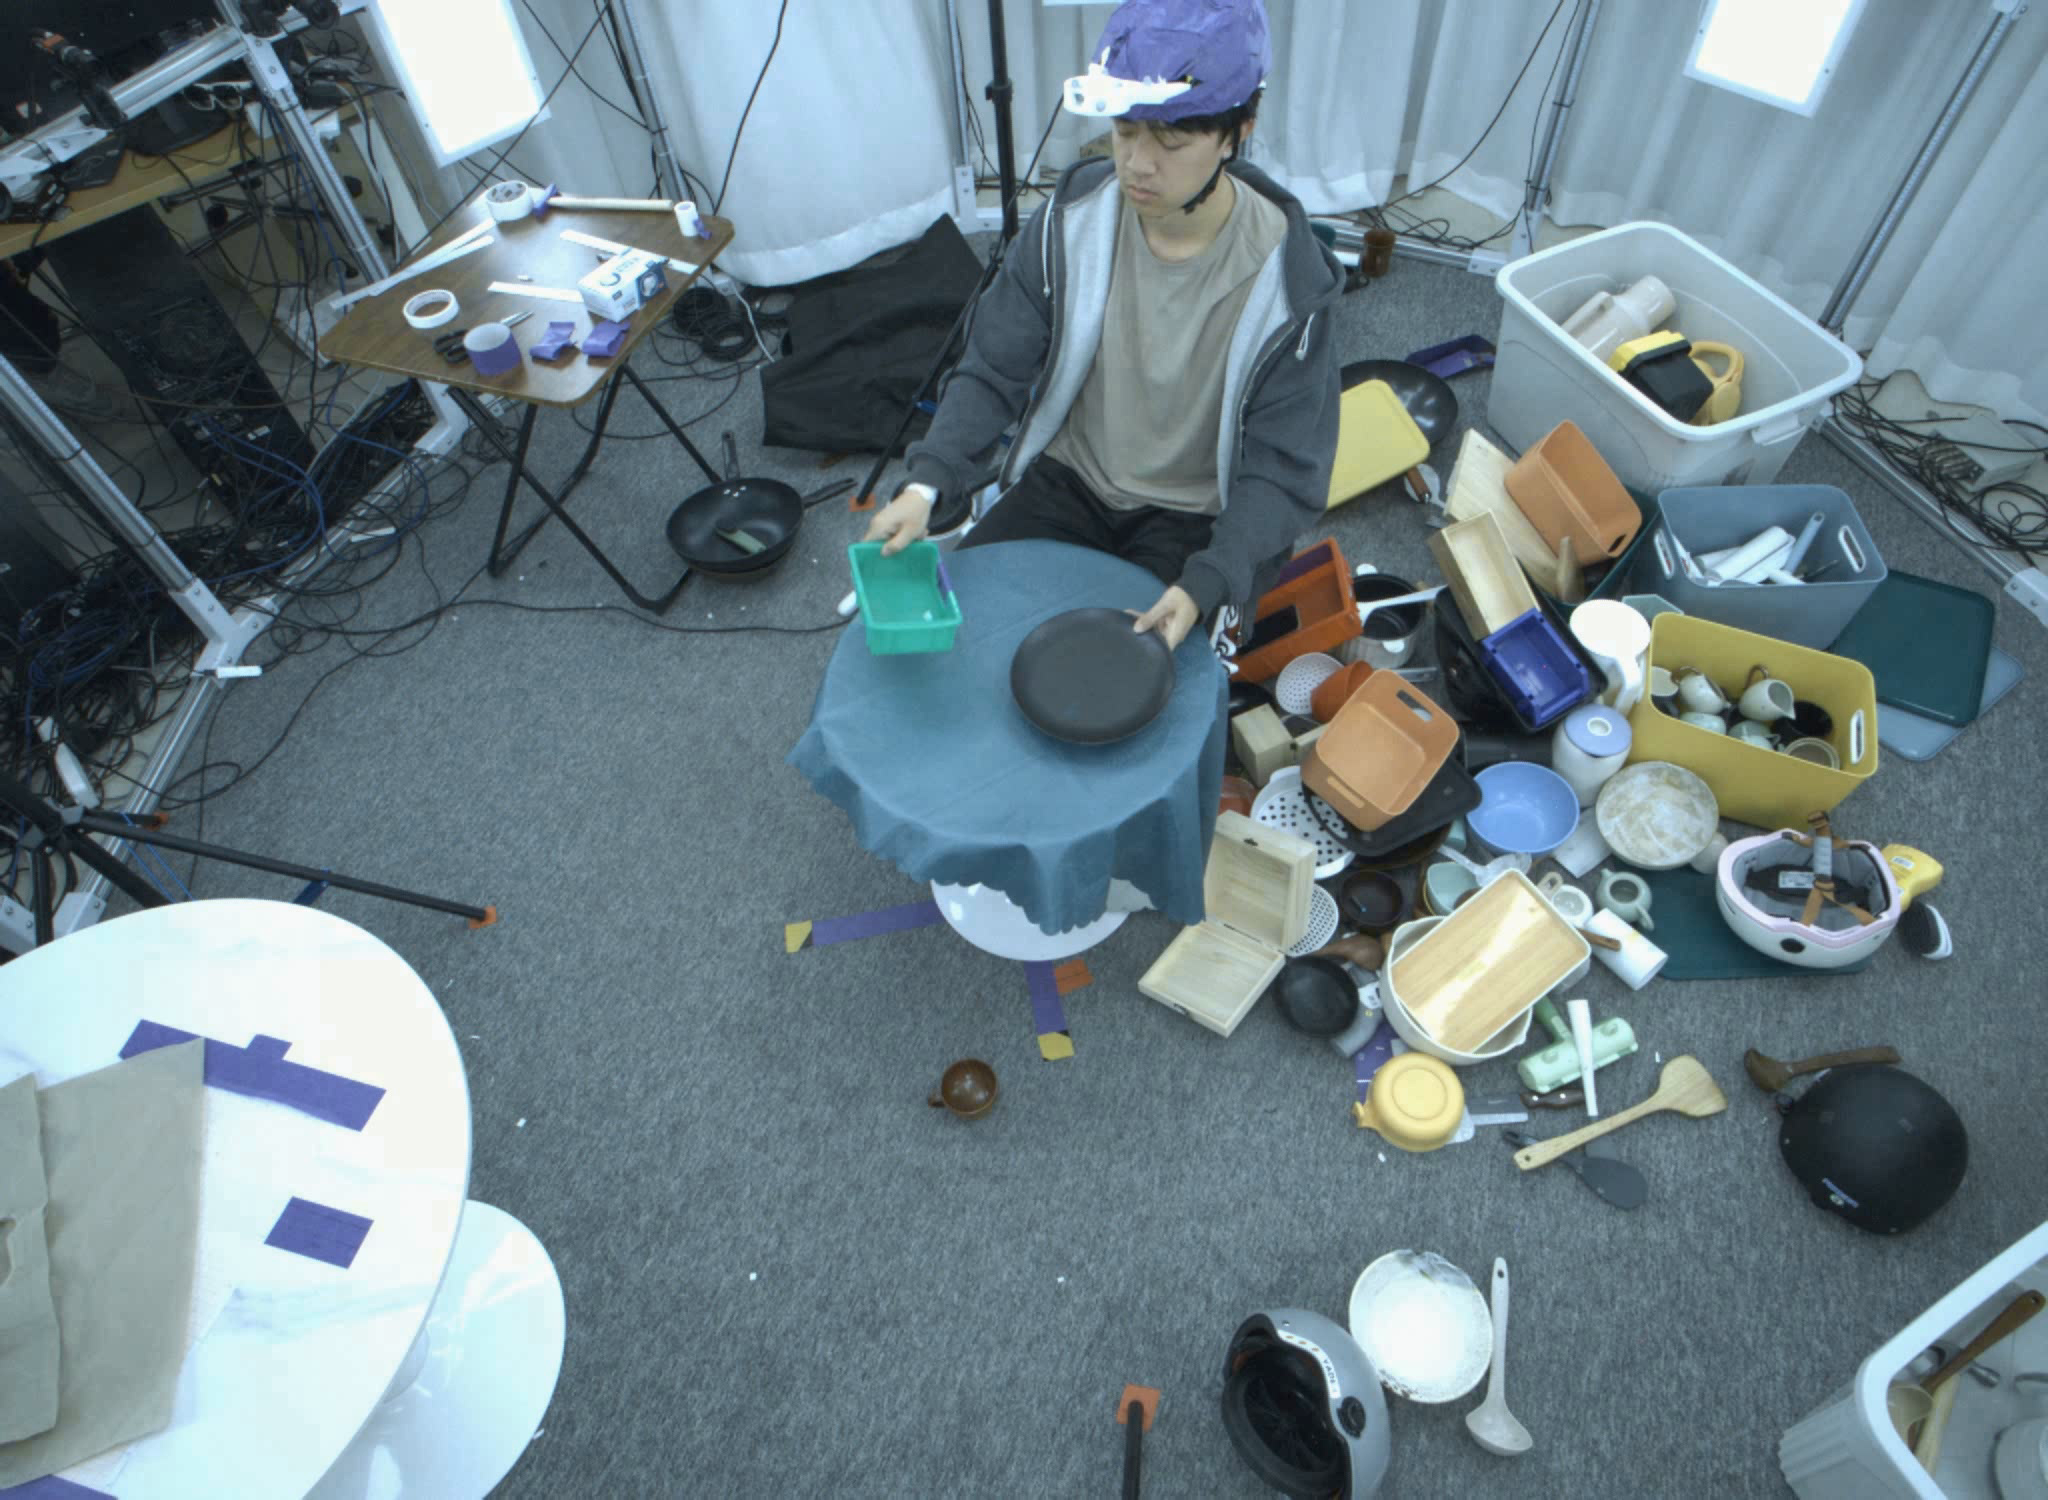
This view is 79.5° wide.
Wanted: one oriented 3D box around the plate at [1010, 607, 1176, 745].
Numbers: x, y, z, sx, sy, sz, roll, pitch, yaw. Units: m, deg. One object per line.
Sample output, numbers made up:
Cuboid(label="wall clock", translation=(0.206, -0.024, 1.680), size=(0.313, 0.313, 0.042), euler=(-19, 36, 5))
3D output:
Cuboid(label="plate", translation=(0.101, -0.108, 1.810), size=(0.244, 0.024, 0.242), euler=(-1, 60, 4))

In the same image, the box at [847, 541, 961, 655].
Cuboid(label="box", translation=(-0.182, -0.223, 1.800), size=(0.140, 0.065, 0.206), euler=(-5, 45, -19))
